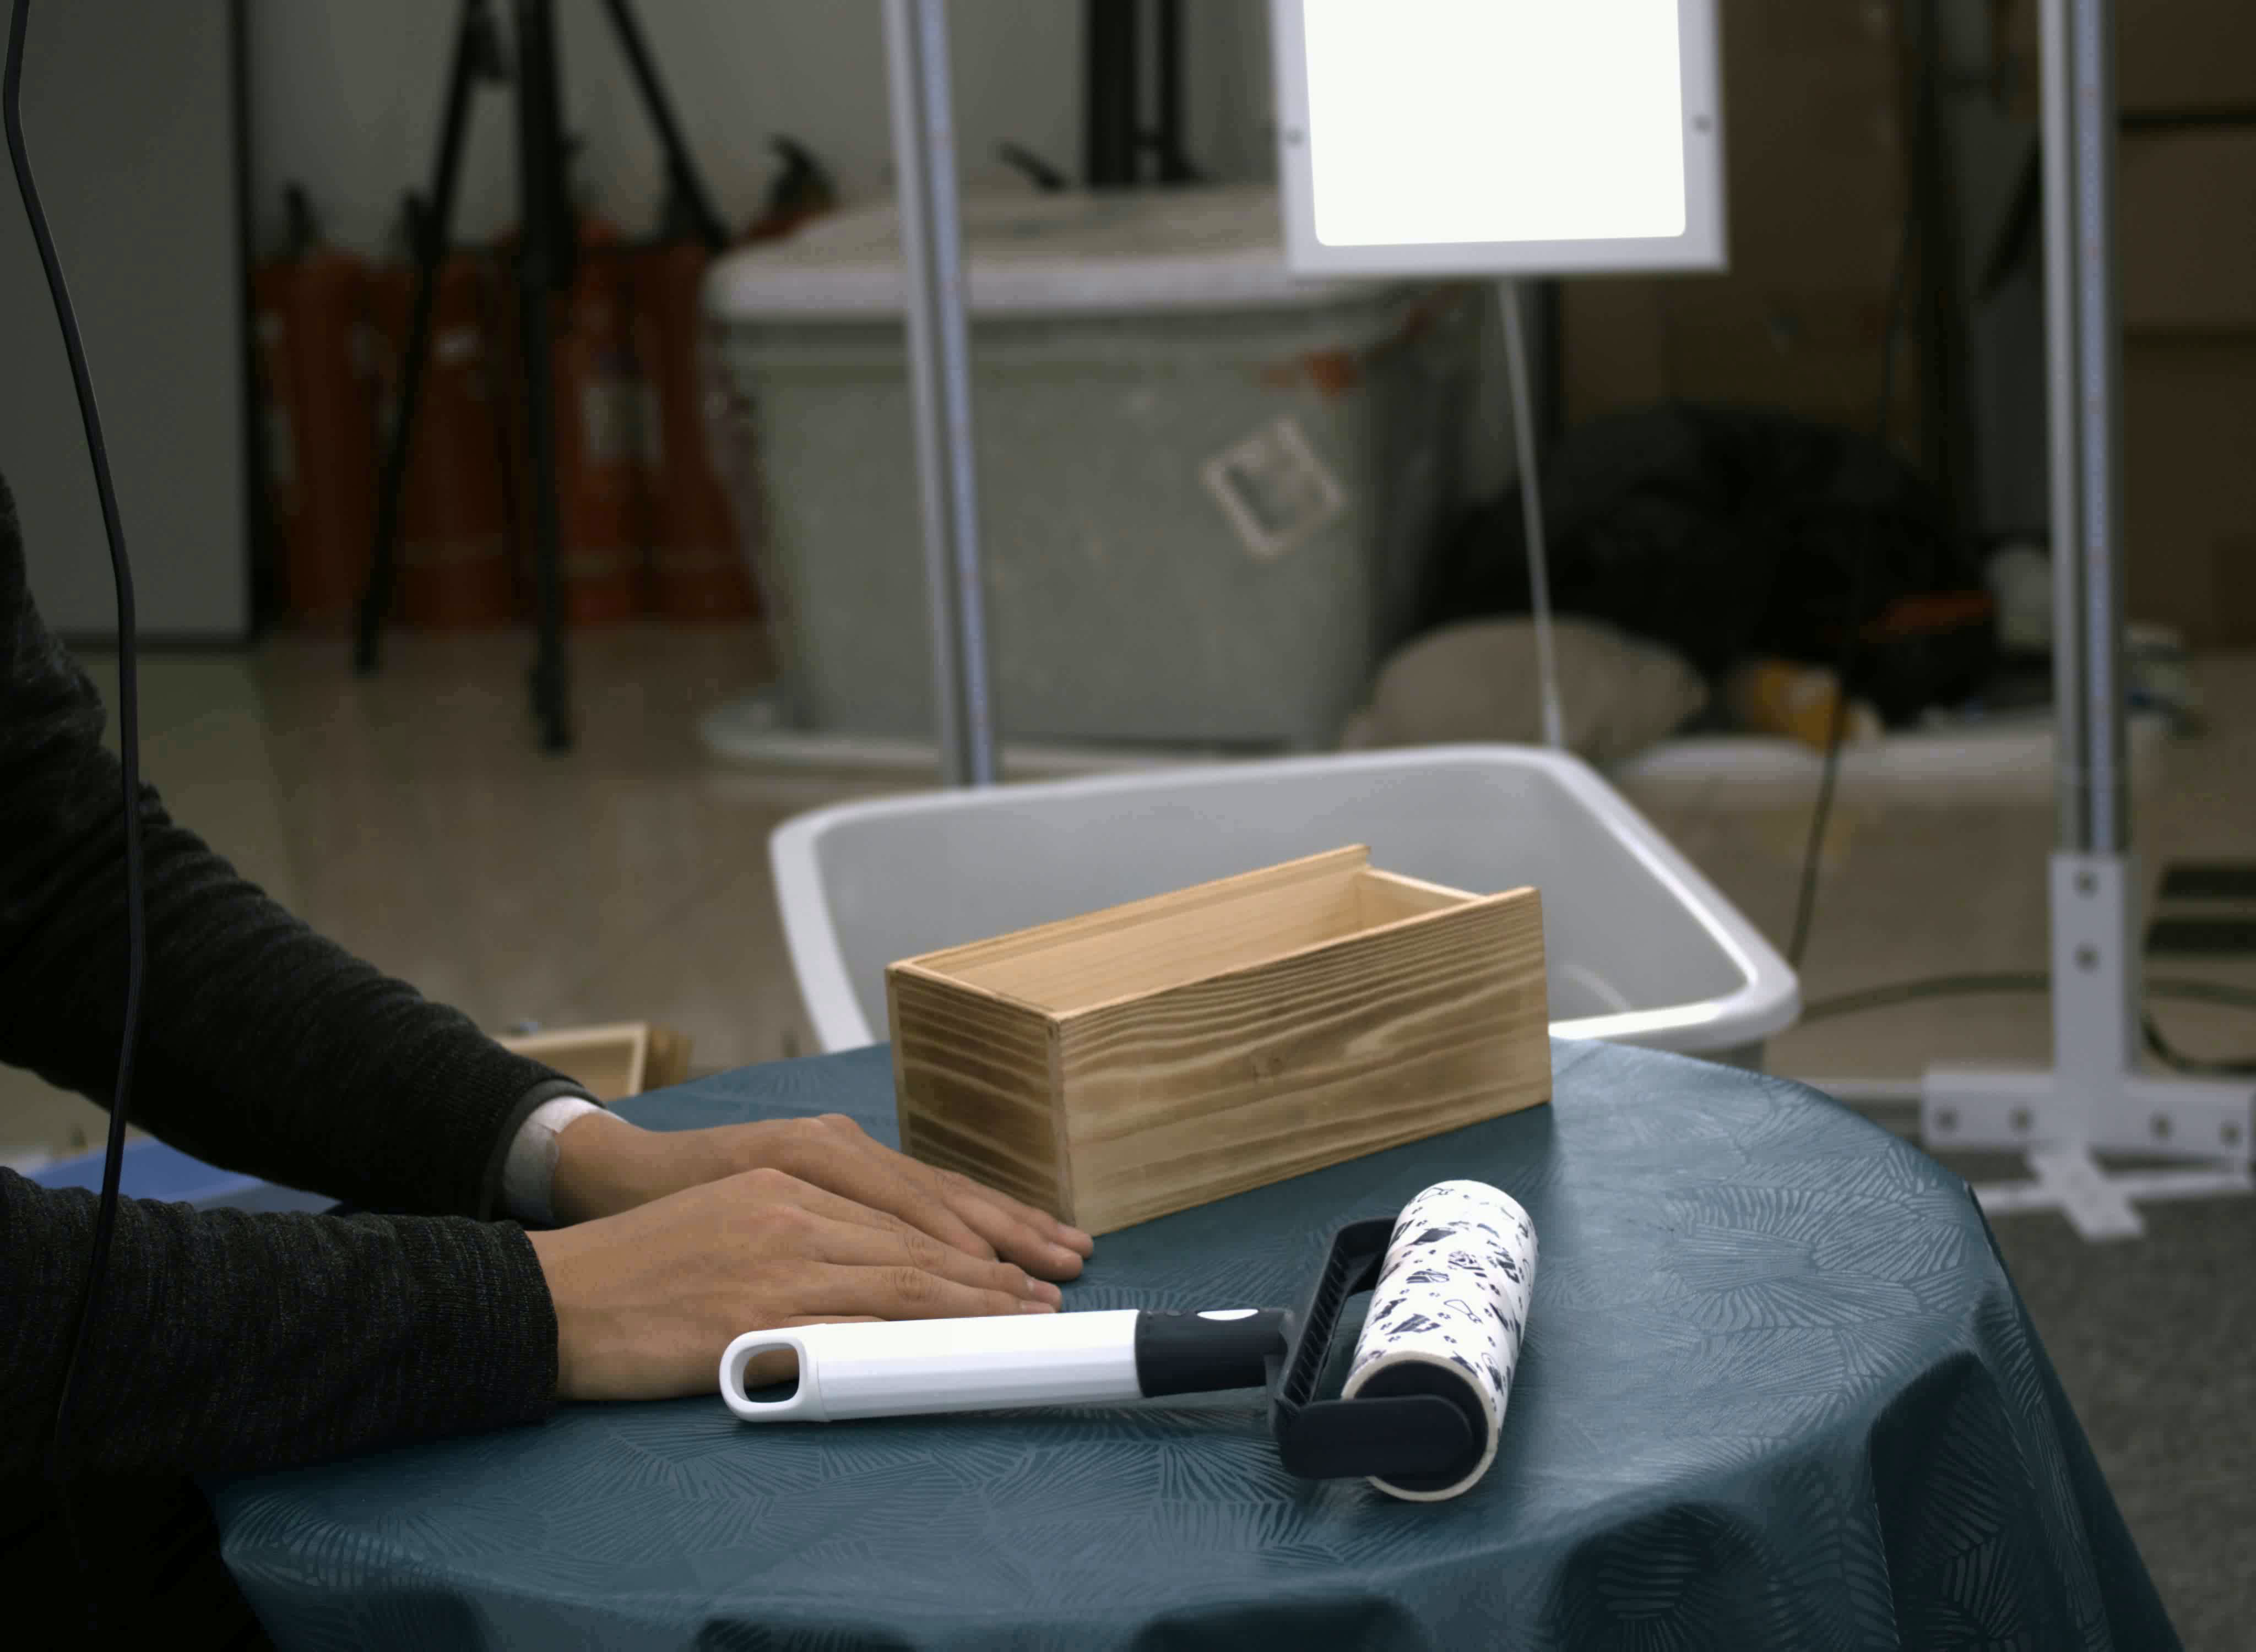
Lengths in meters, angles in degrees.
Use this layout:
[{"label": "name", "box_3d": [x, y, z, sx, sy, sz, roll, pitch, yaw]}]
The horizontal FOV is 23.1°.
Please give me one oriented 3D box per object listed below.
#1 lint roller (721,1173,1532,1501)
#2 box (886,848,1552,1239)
[{"label": "lint roller", "box_3d": [-0.005, 0.159, 1.675, 0.248, 0.050, 0.174, -4, 15, 11]}, {"label": "box", "box_3d": [0.034, 0.073, 1.935, 0.206, 0.080, 0.109, -14, 16, -32]}]
